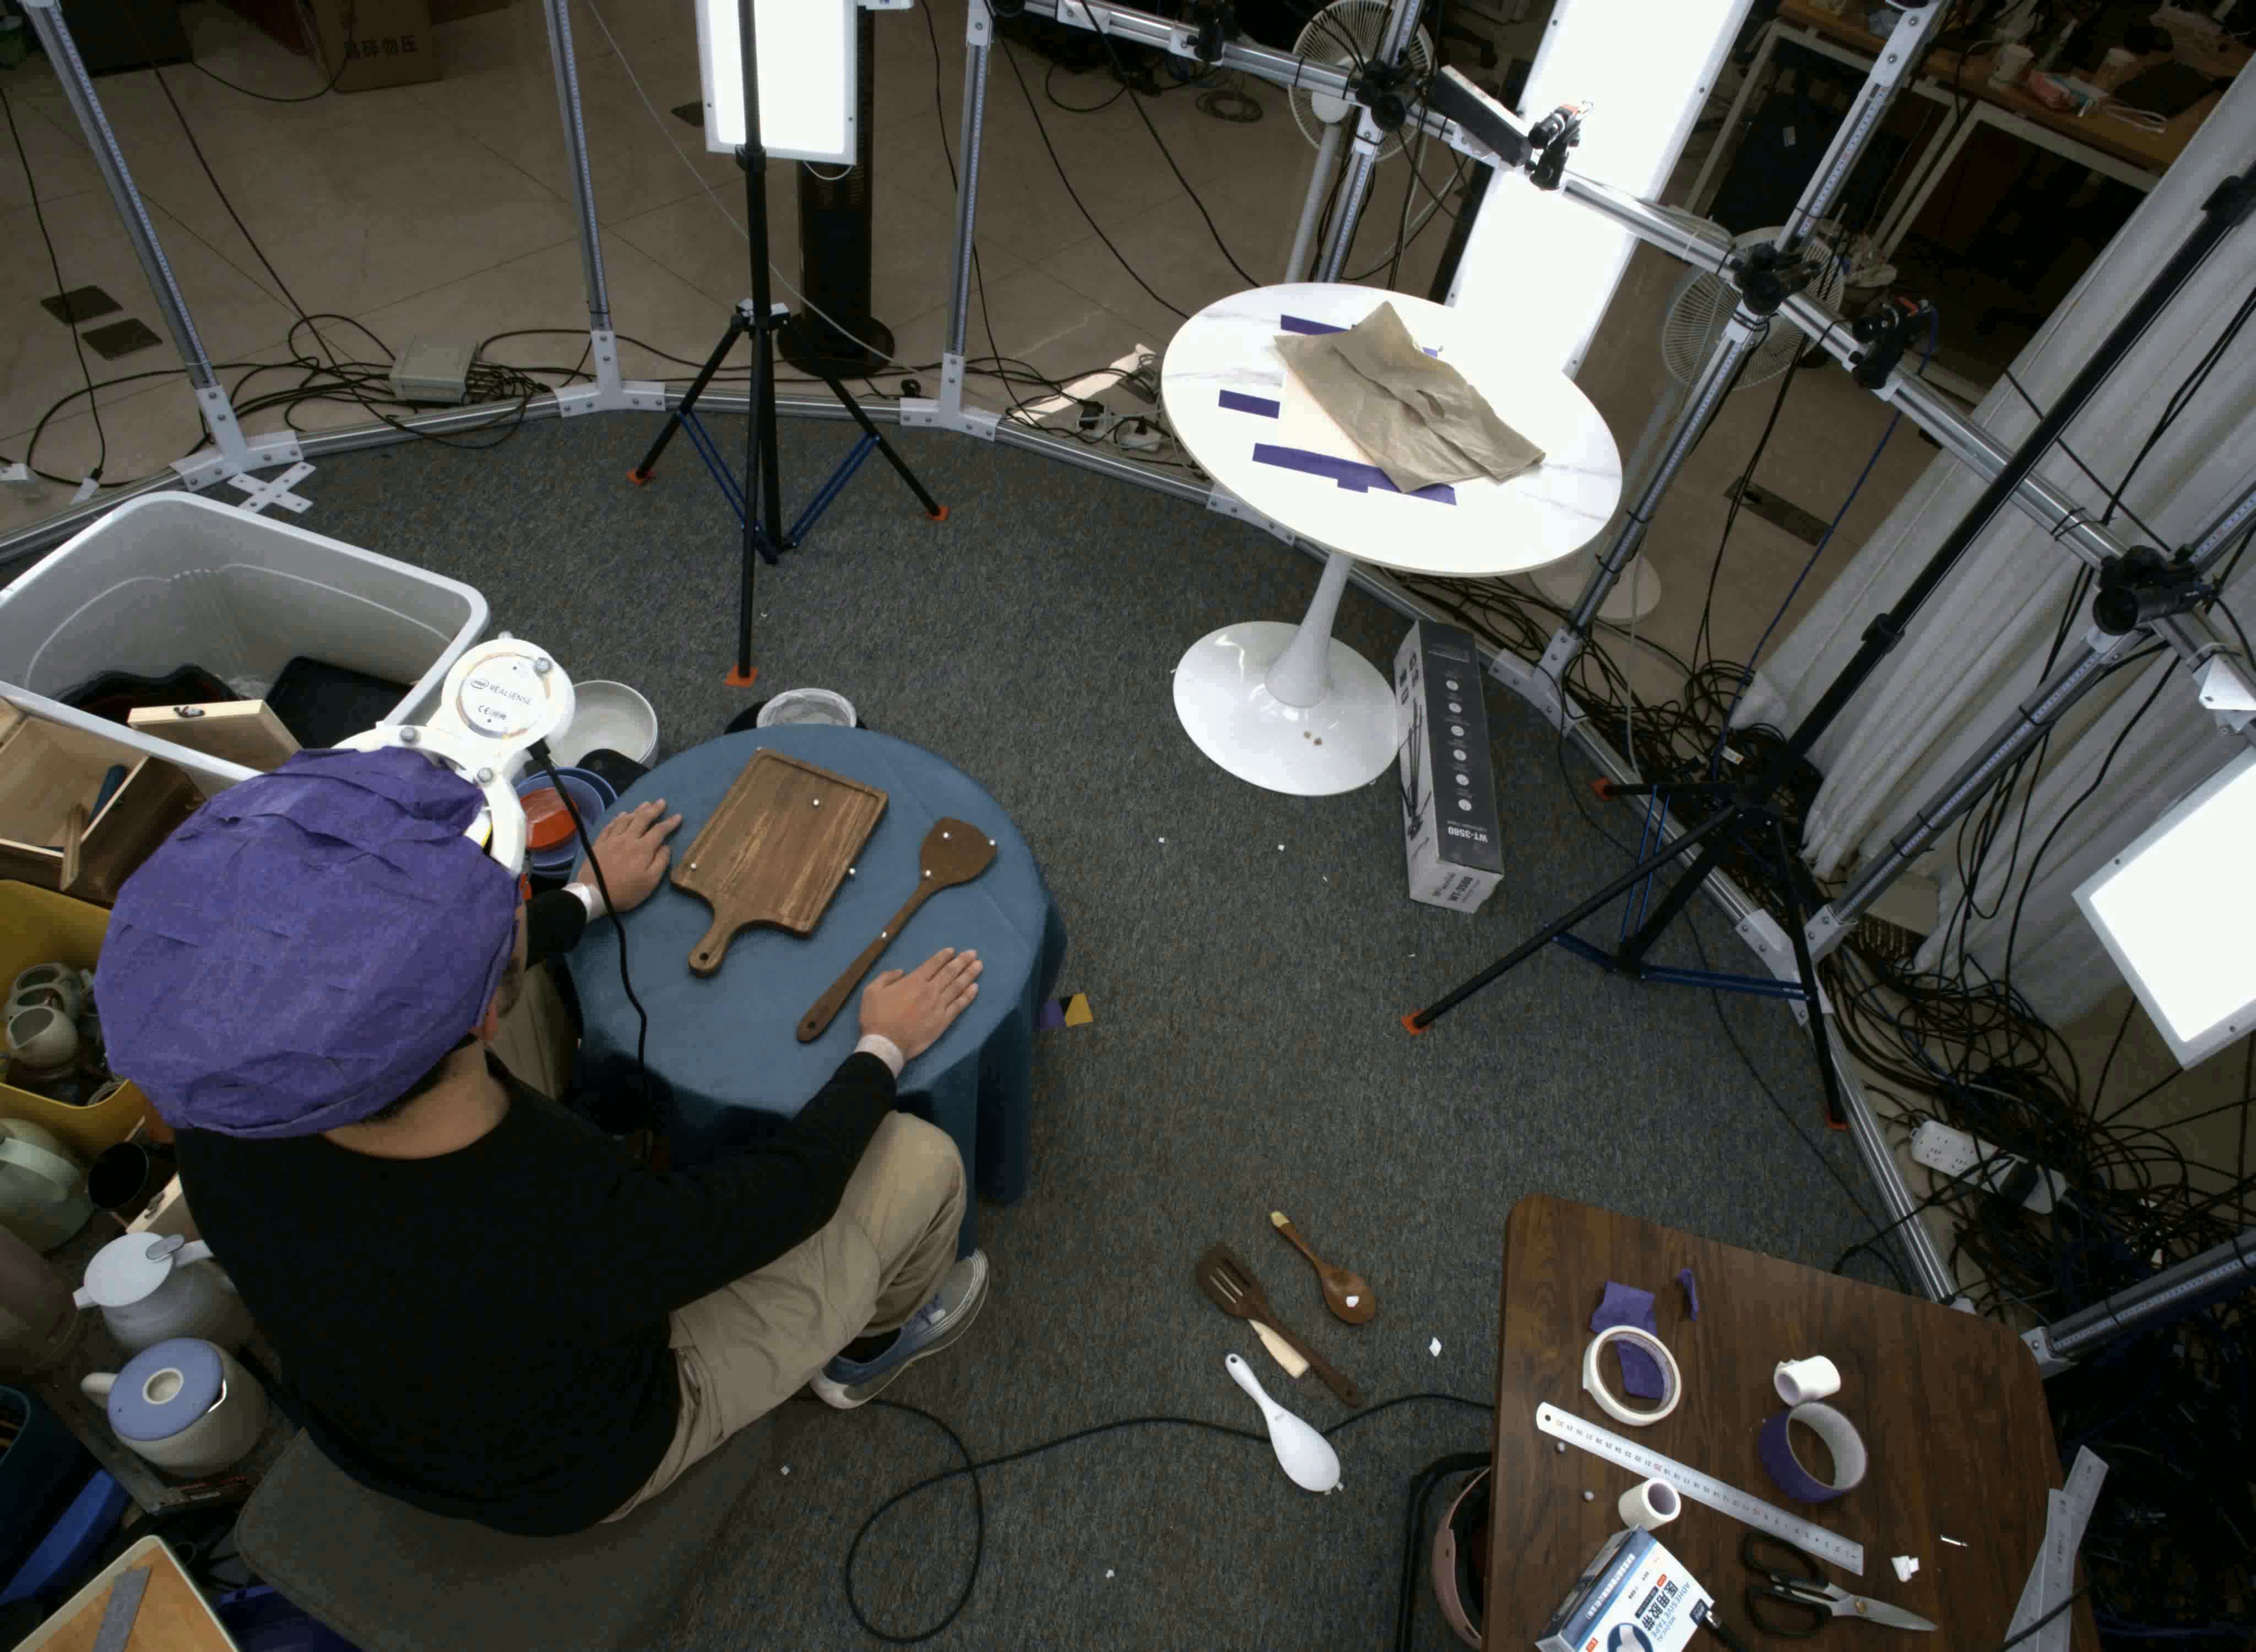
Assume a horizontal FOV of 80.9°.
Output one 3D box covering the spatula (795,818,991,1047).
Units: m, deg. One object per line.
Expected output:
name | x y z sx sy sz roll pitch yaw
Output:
spatula | -0.302 0.128 1.646 0.094 0.016 0.384 29 52 8

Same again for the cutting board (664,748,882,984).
cutting board | -0.471 0.052 1.654 0.199 0.023 0.348 20 51 1
